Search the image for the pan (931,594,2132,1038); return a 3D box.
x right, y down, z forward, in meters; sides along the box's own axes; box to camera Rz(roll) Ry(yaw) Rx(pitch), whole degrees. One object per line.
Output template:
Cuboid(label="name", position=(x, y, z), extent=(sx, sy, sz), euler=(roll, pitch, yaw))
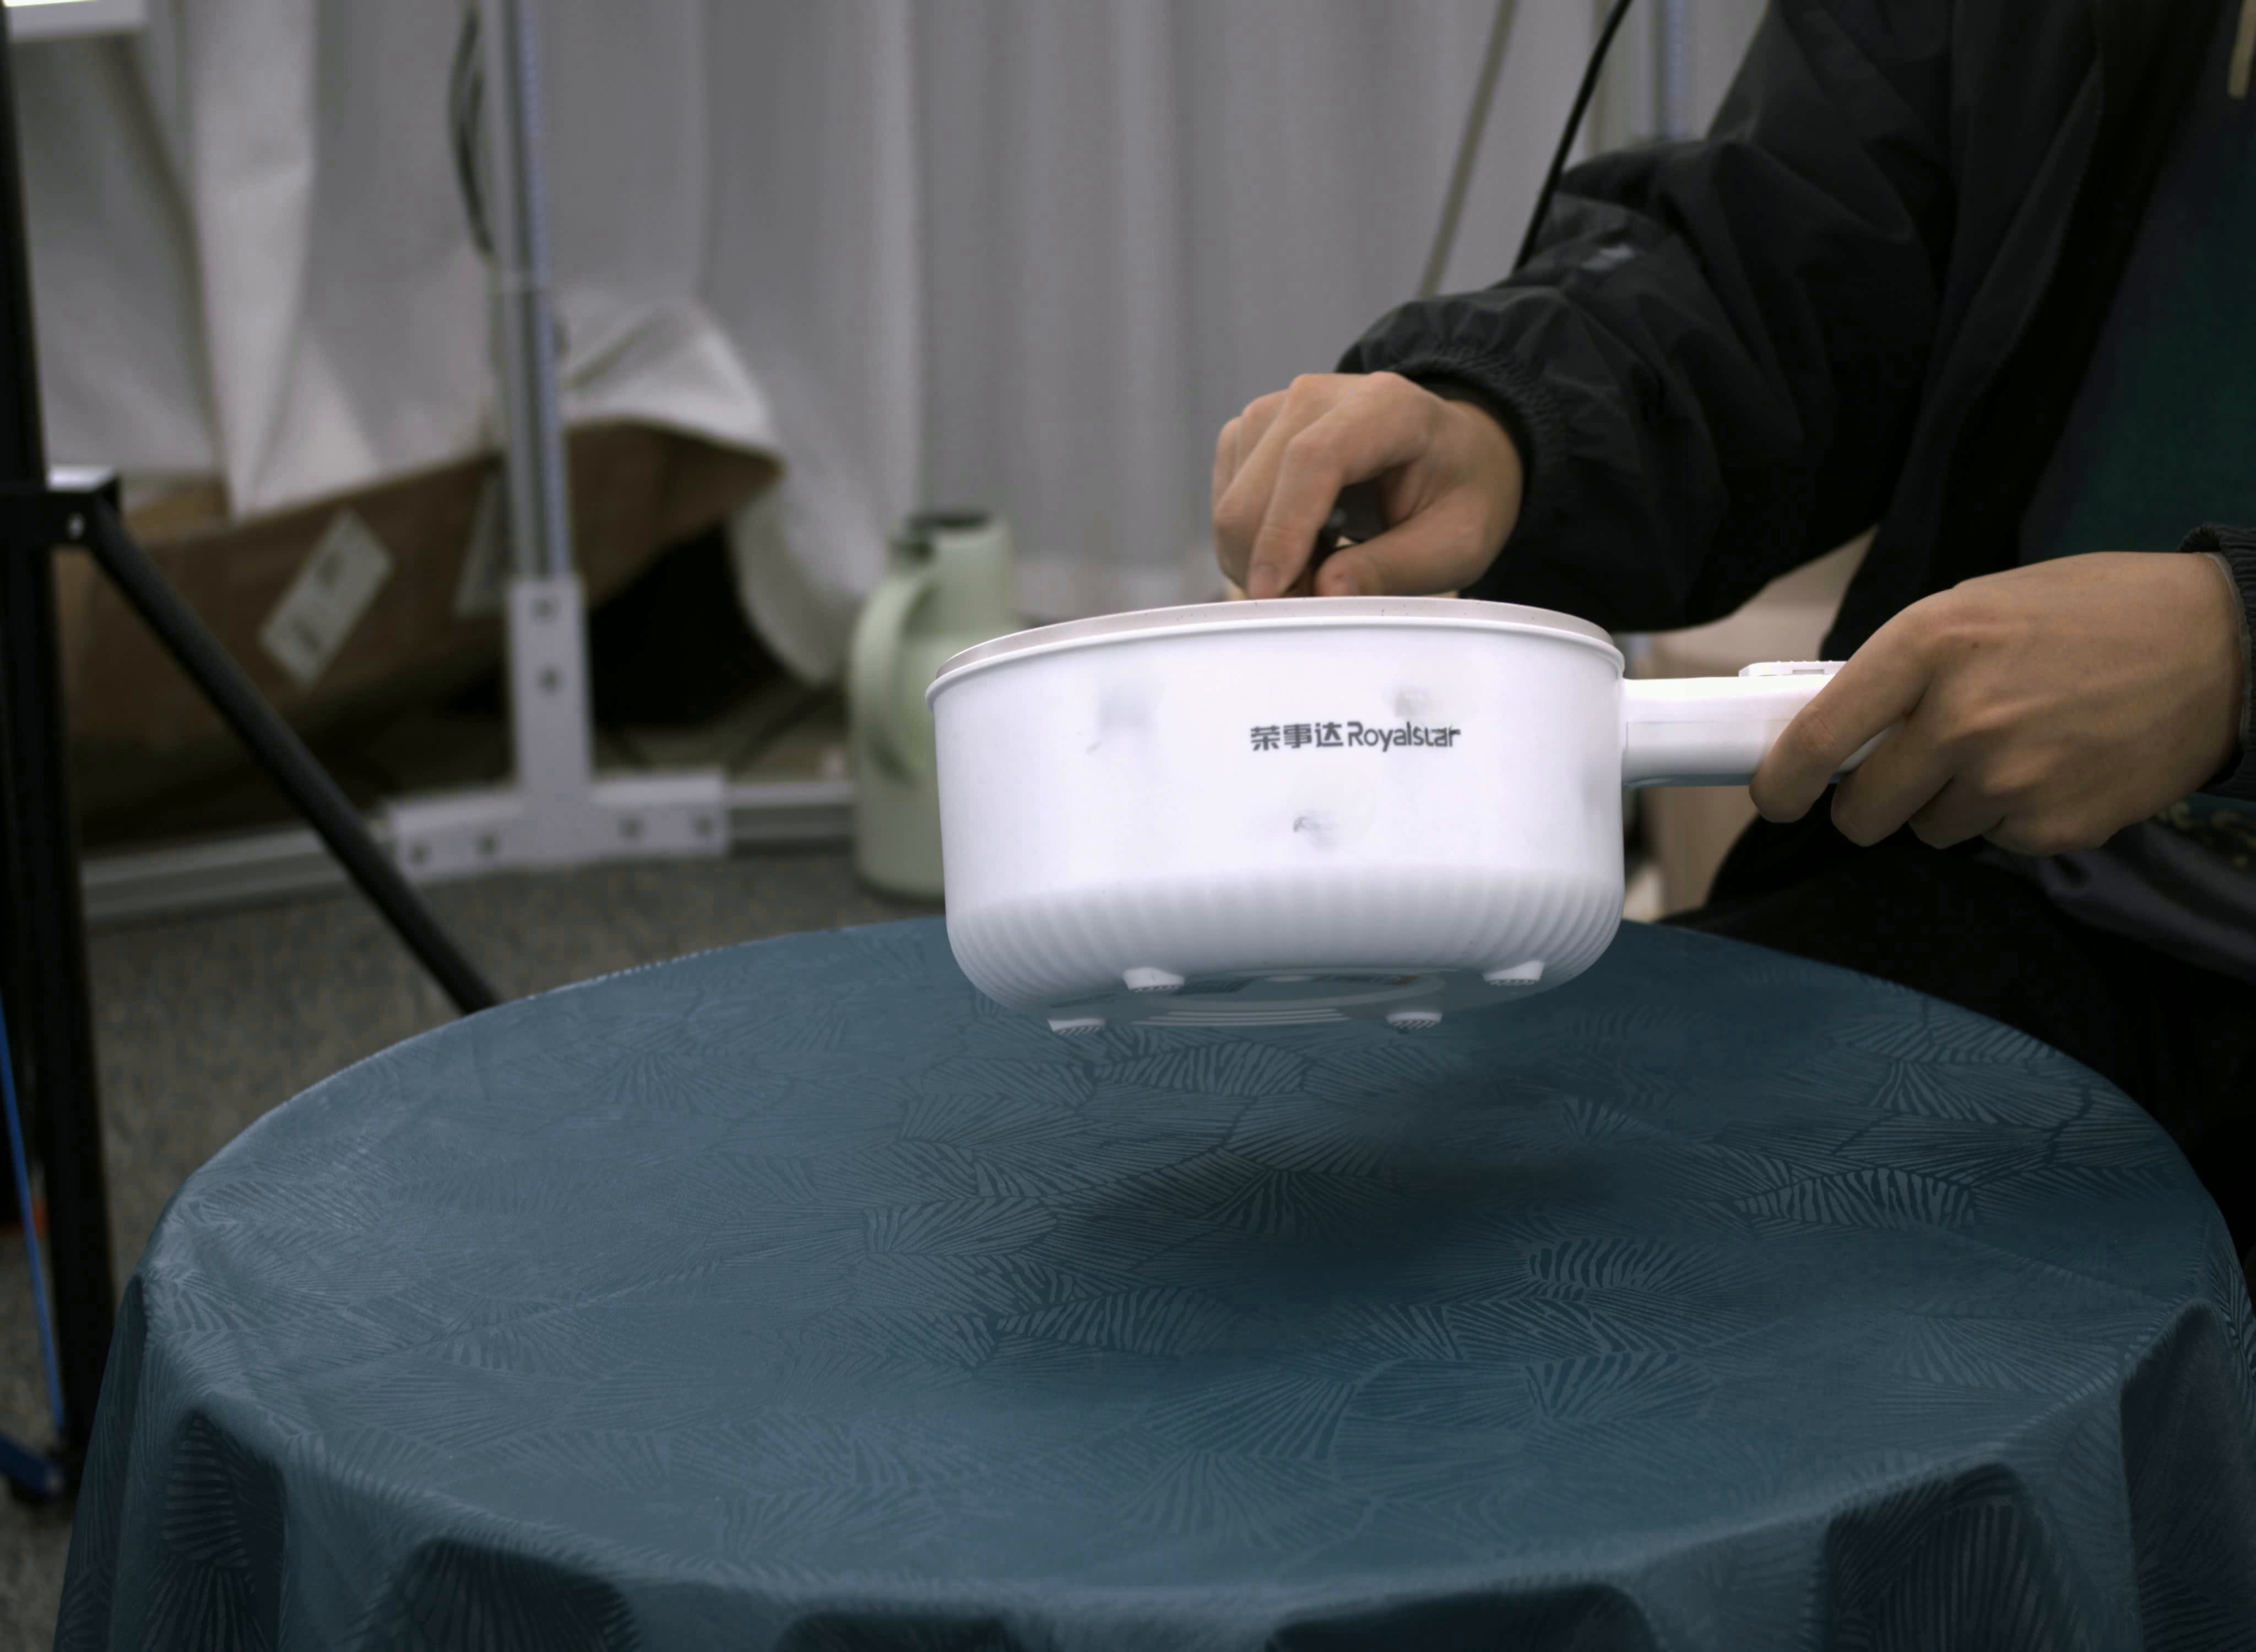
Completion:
Cuboid(label="pan", position=(0.119, 0.005, 1.531), extent=(0.350, 0.103, 0.202), euler=(1, -10, -11))

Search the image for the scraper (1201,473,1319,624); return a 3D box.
Cuboid(label="scraper", position=(0.042, -0.059, 1.613), extent=(0.011, 0.075, 0.211), euler=(-9, 22, 13))
